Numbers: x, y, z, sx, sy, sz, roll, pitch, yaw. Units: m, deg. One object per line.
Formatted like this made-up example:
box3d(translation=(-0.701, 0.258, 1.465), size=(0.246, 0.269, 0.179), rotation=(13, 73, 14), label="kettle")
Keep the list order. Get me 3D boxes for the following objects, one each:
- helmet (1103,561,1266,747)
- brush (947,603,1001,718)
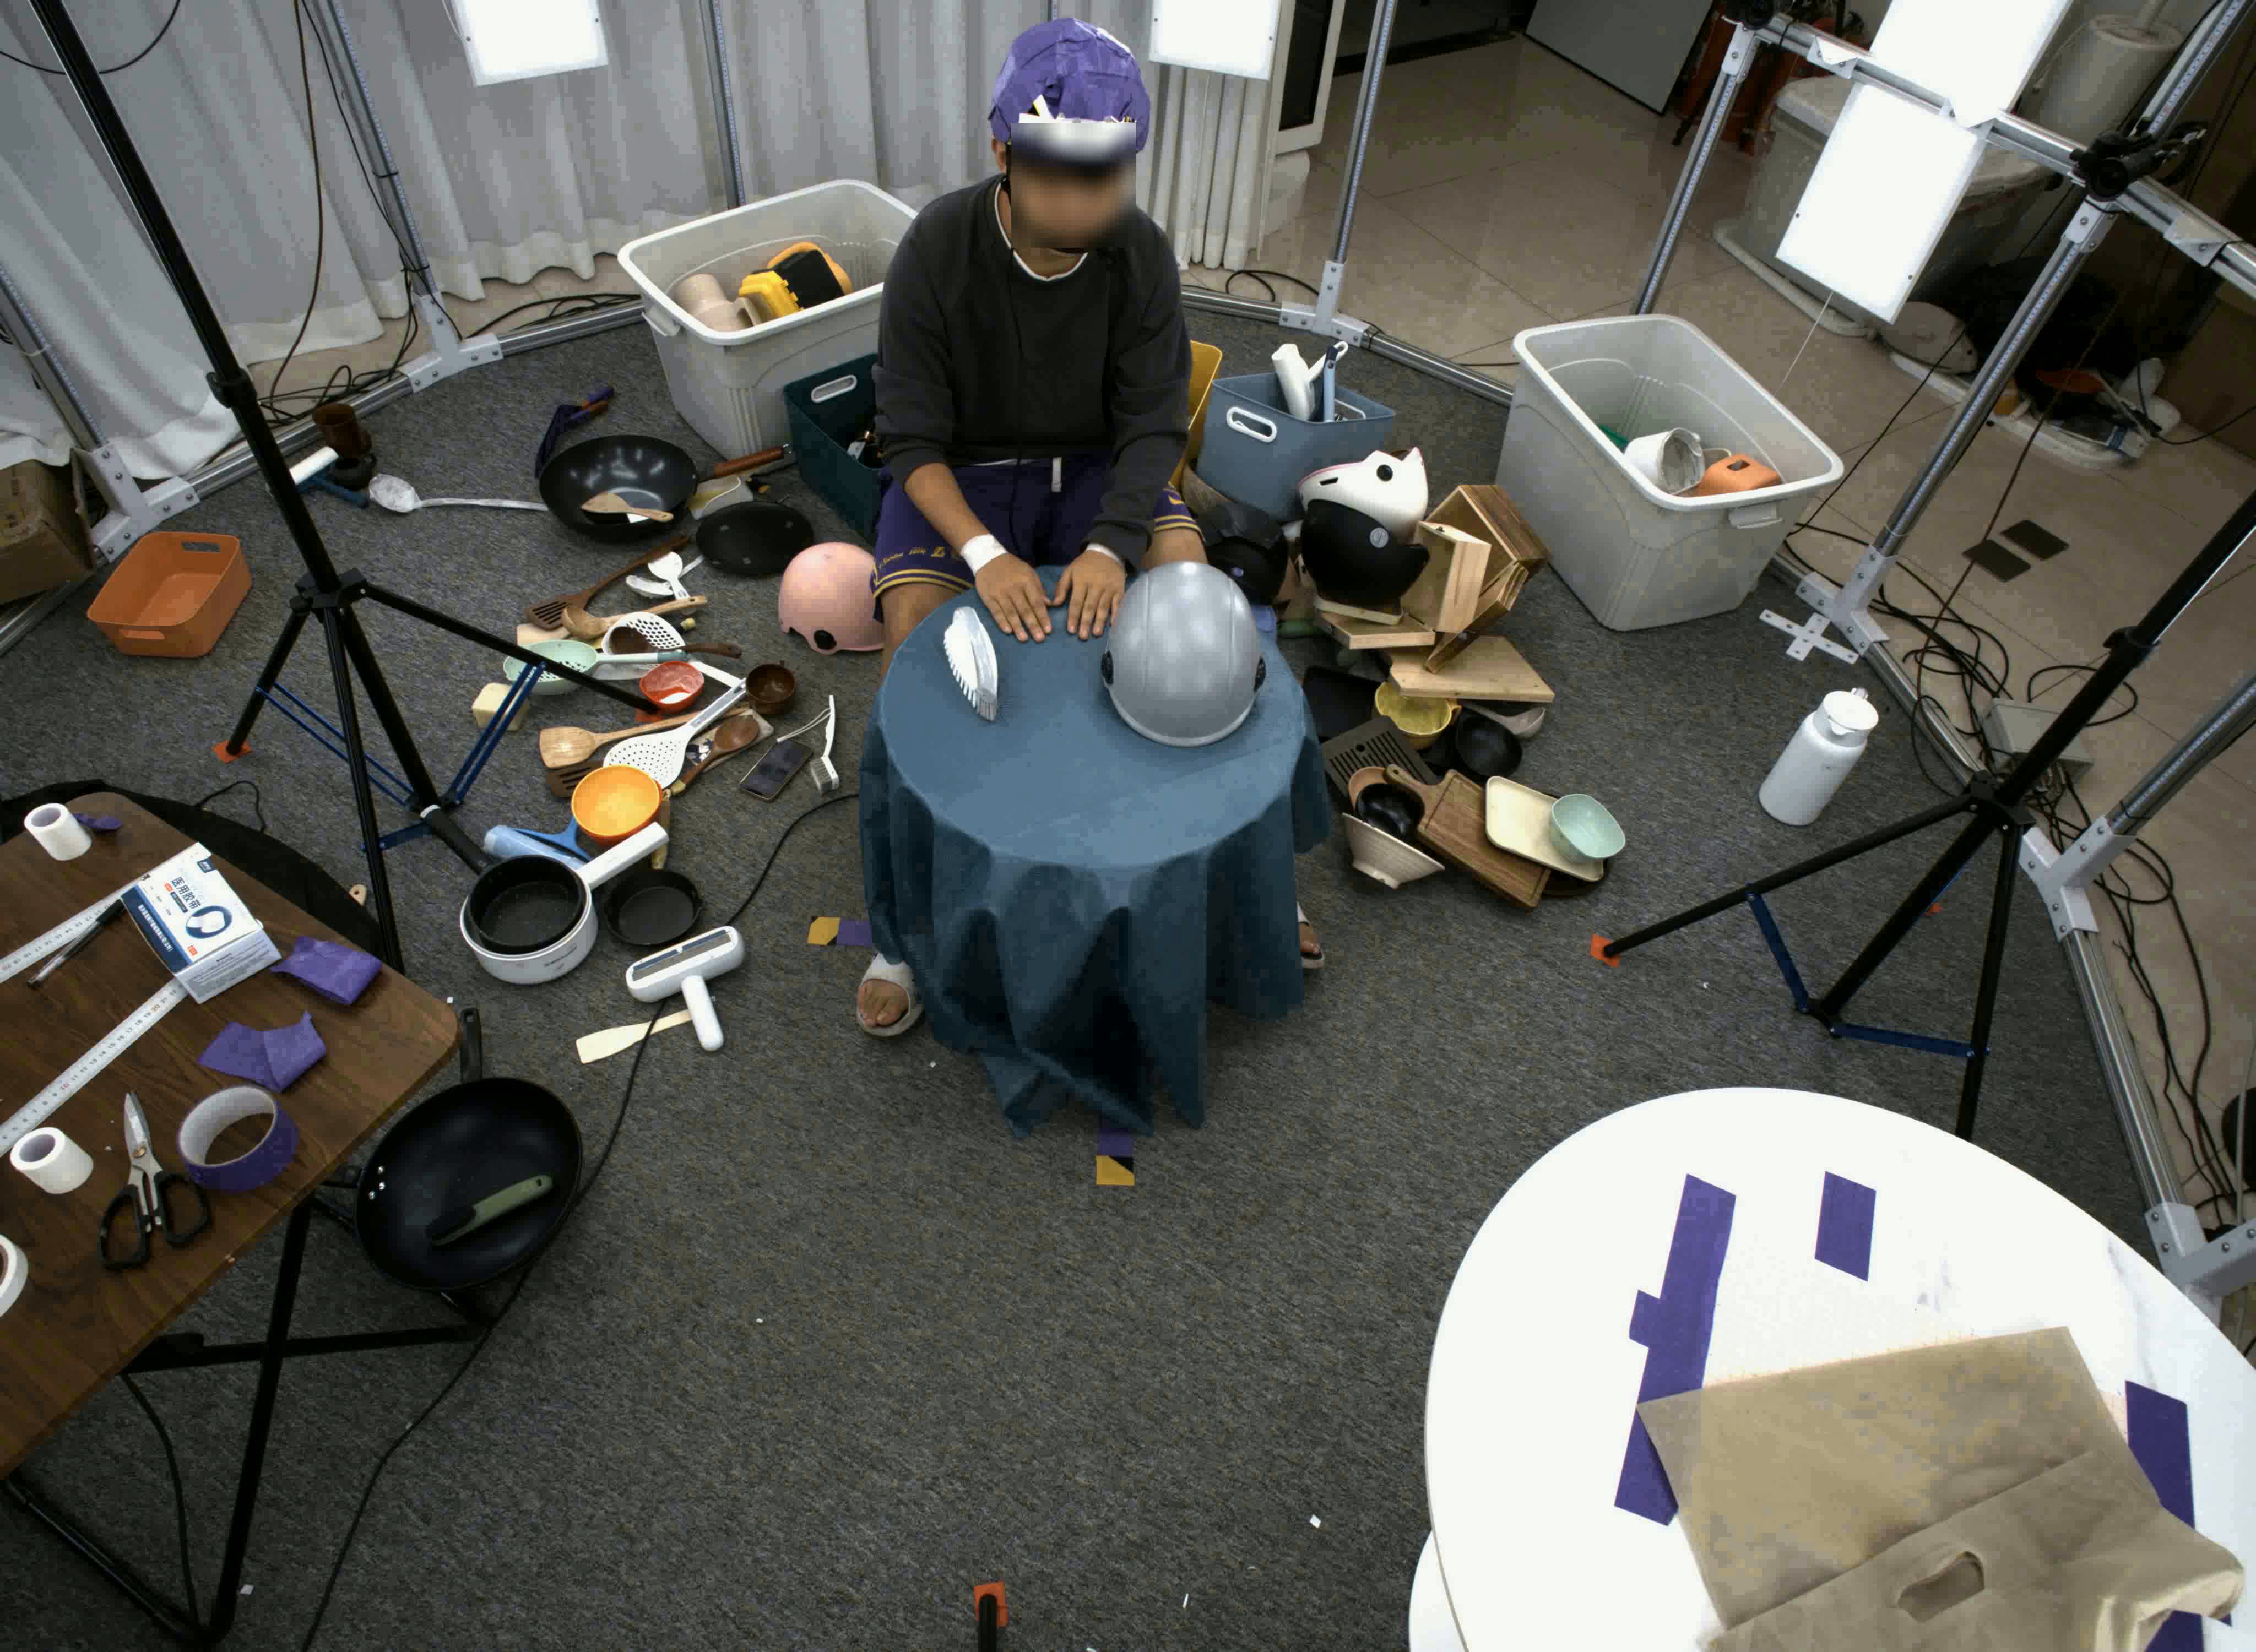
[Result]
box3d(translation=(0.081, -0.265, 1.797), size=(0.232, 0.164, 0.283), rotation=(2, 51, -1), label="helmet")
box3d(translation=(-0.211, -0.240, 1.802), size=(0.061, 0.092, 0.180), rotation=(-12, 54, -13), label="brush")
